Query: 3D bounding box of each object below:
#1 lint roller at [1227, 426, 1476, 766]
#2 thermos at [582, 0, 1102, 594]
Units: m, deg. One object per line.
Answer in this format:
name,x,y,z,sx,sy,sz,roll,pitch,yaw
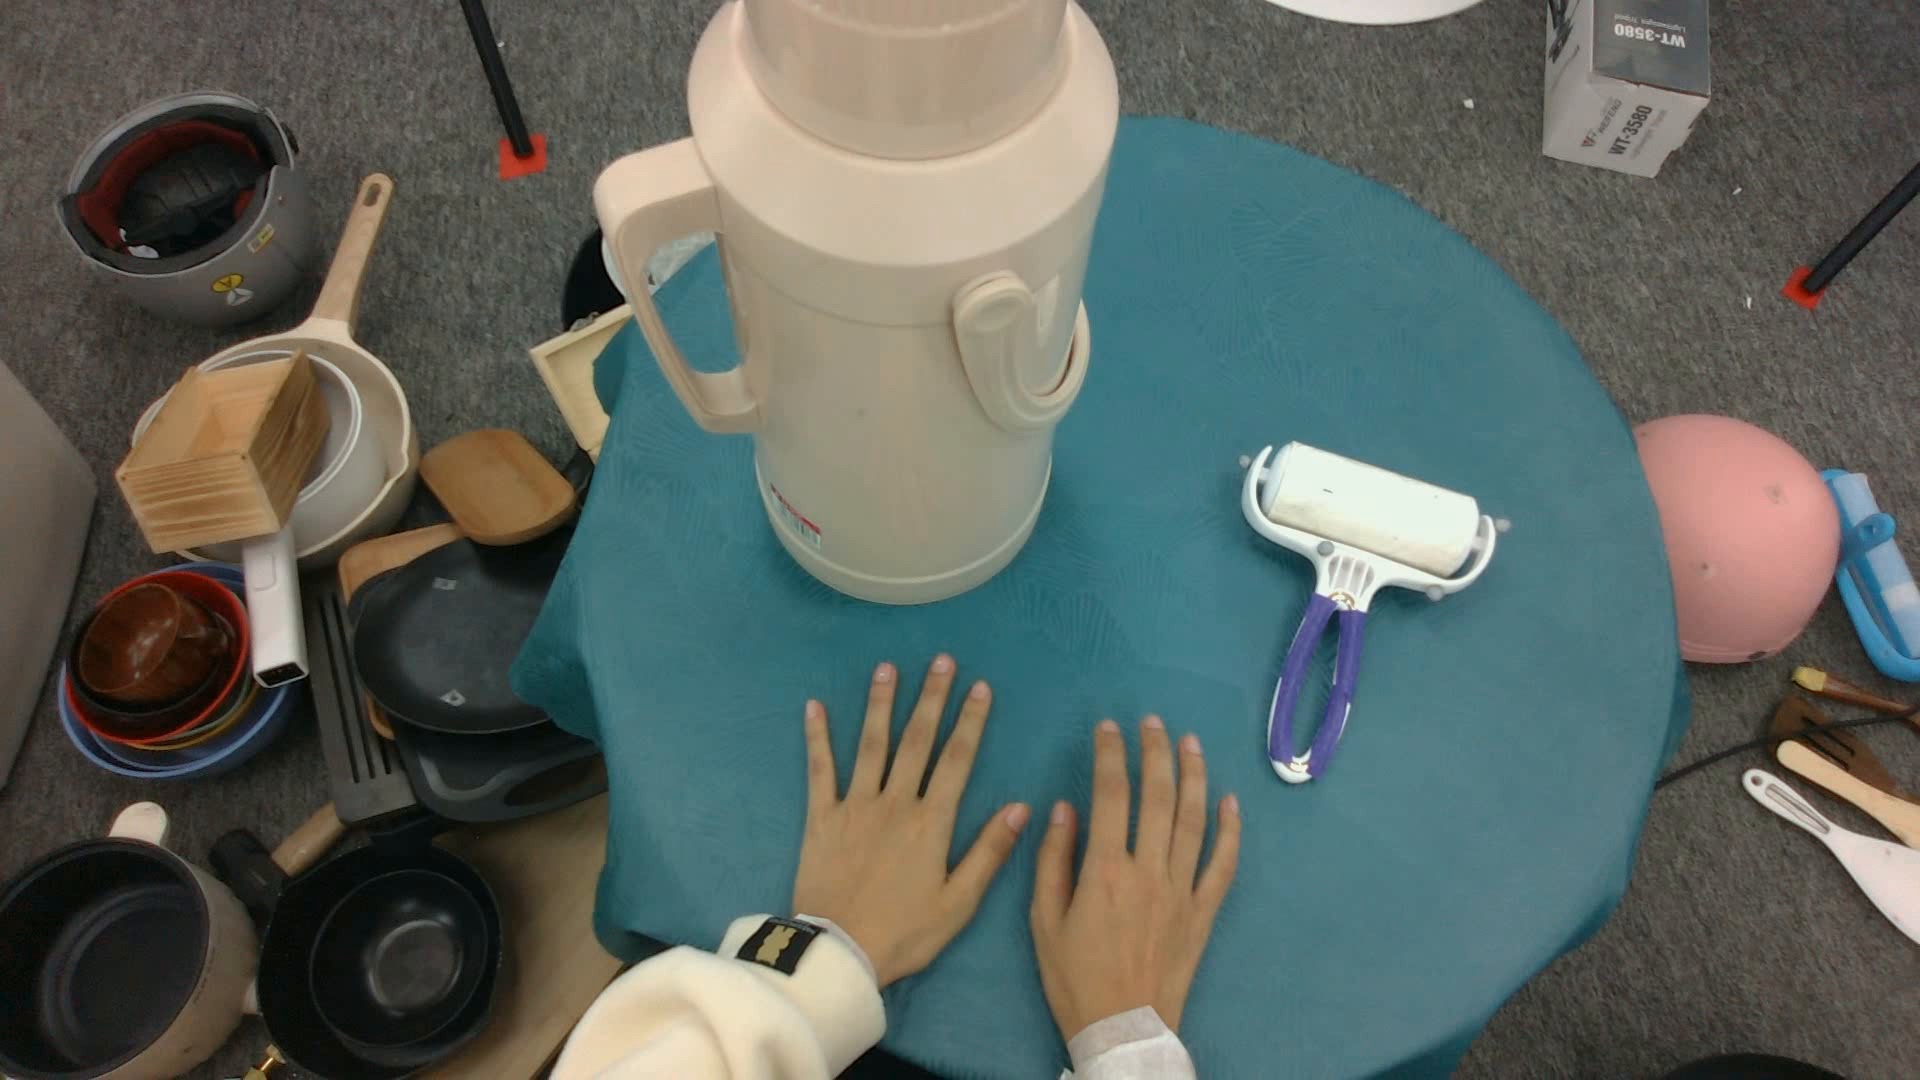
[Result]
lint roller,0.189,0.029,0.718,0.133,0.050,0.181,21,63,6
thermos,-0.042,-0.123,0.587,0.207,0.404,0.175,-21,68,-12
